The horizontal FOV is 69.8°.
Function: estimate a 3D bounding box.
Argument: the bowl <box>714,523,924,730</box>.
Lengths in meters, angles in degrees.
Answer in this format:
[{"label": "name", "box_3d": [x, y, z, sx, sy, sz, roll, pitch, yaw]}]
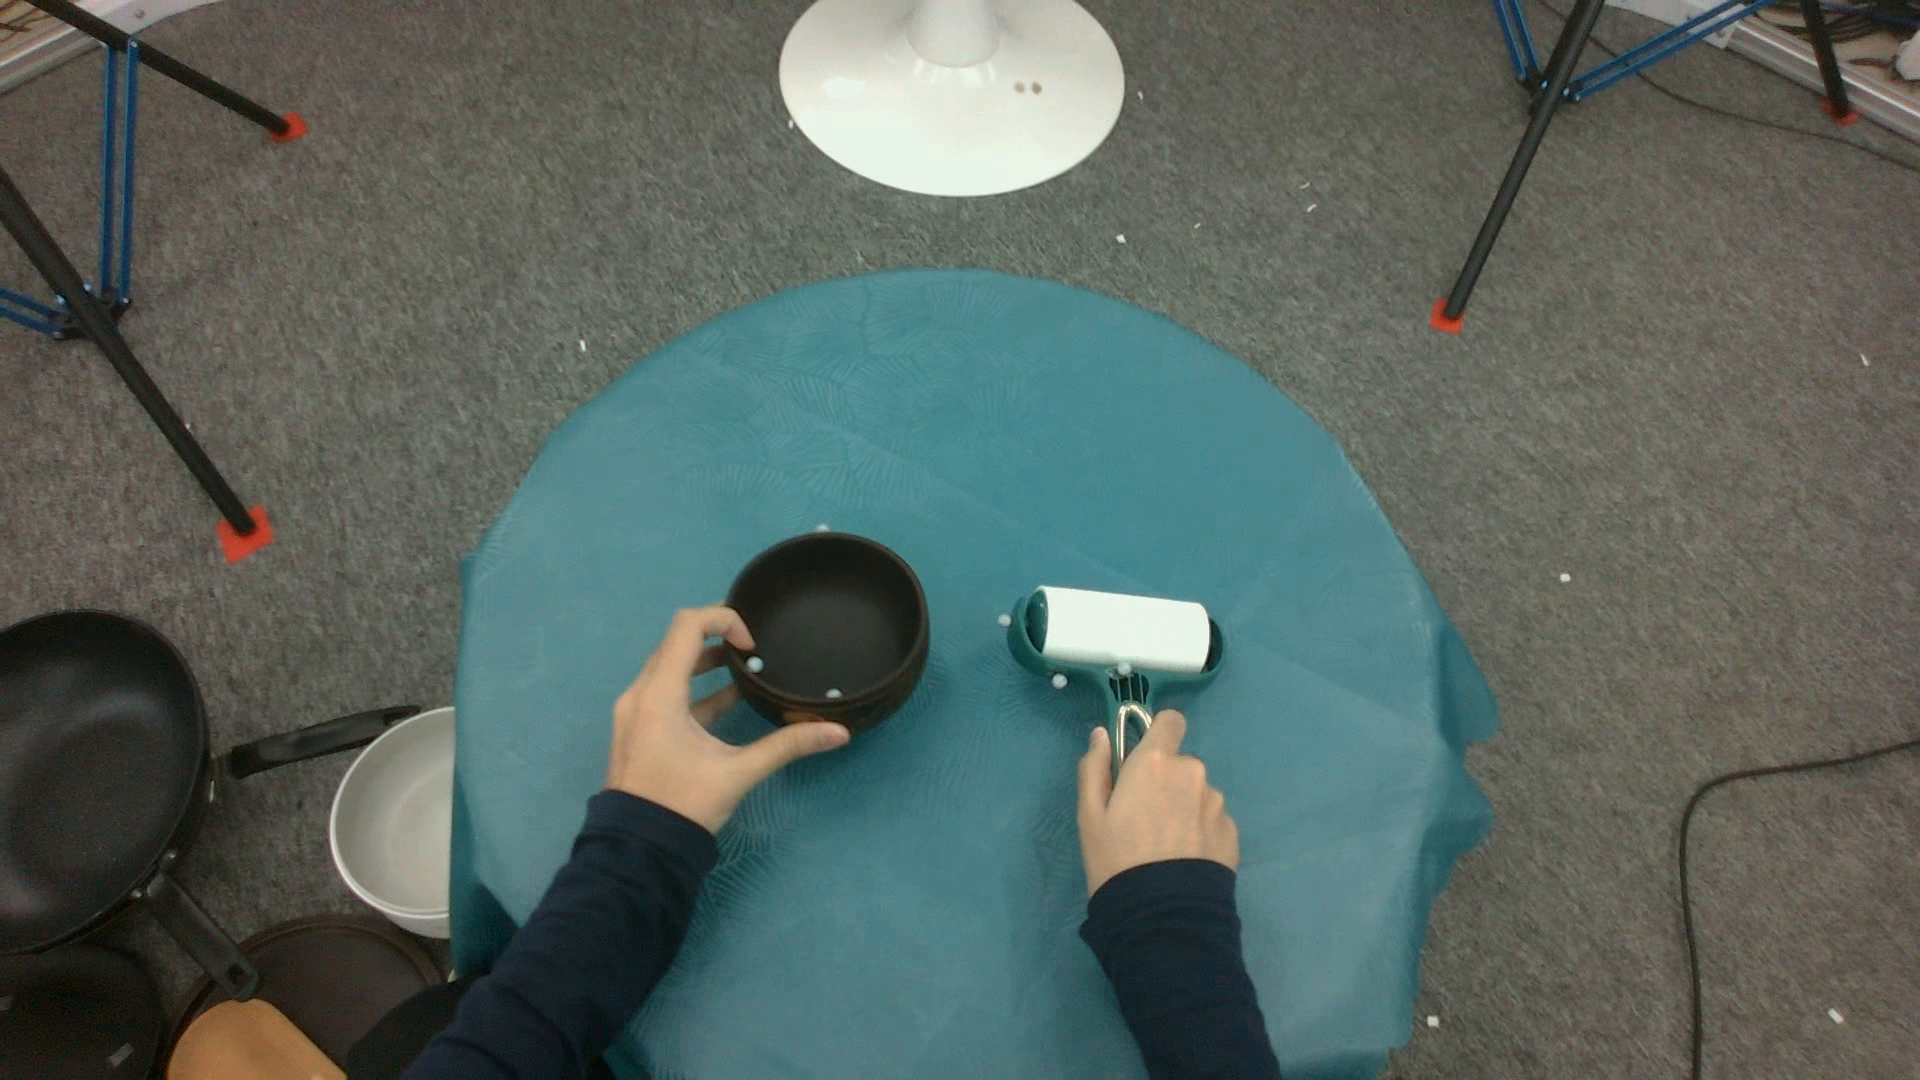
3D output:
[{"label": "bowl", "box_3d": [-0.080, 0.056, 0.786, 0.118, 0.069, 0.118, 3, 54, -4]}]

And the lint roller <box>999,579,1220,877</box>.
[{"label": "lint roller", "box_3d": [0.093, 0.098, 0.773, 0.134, 0.048, 0.181, 5, 45, -11]}]
